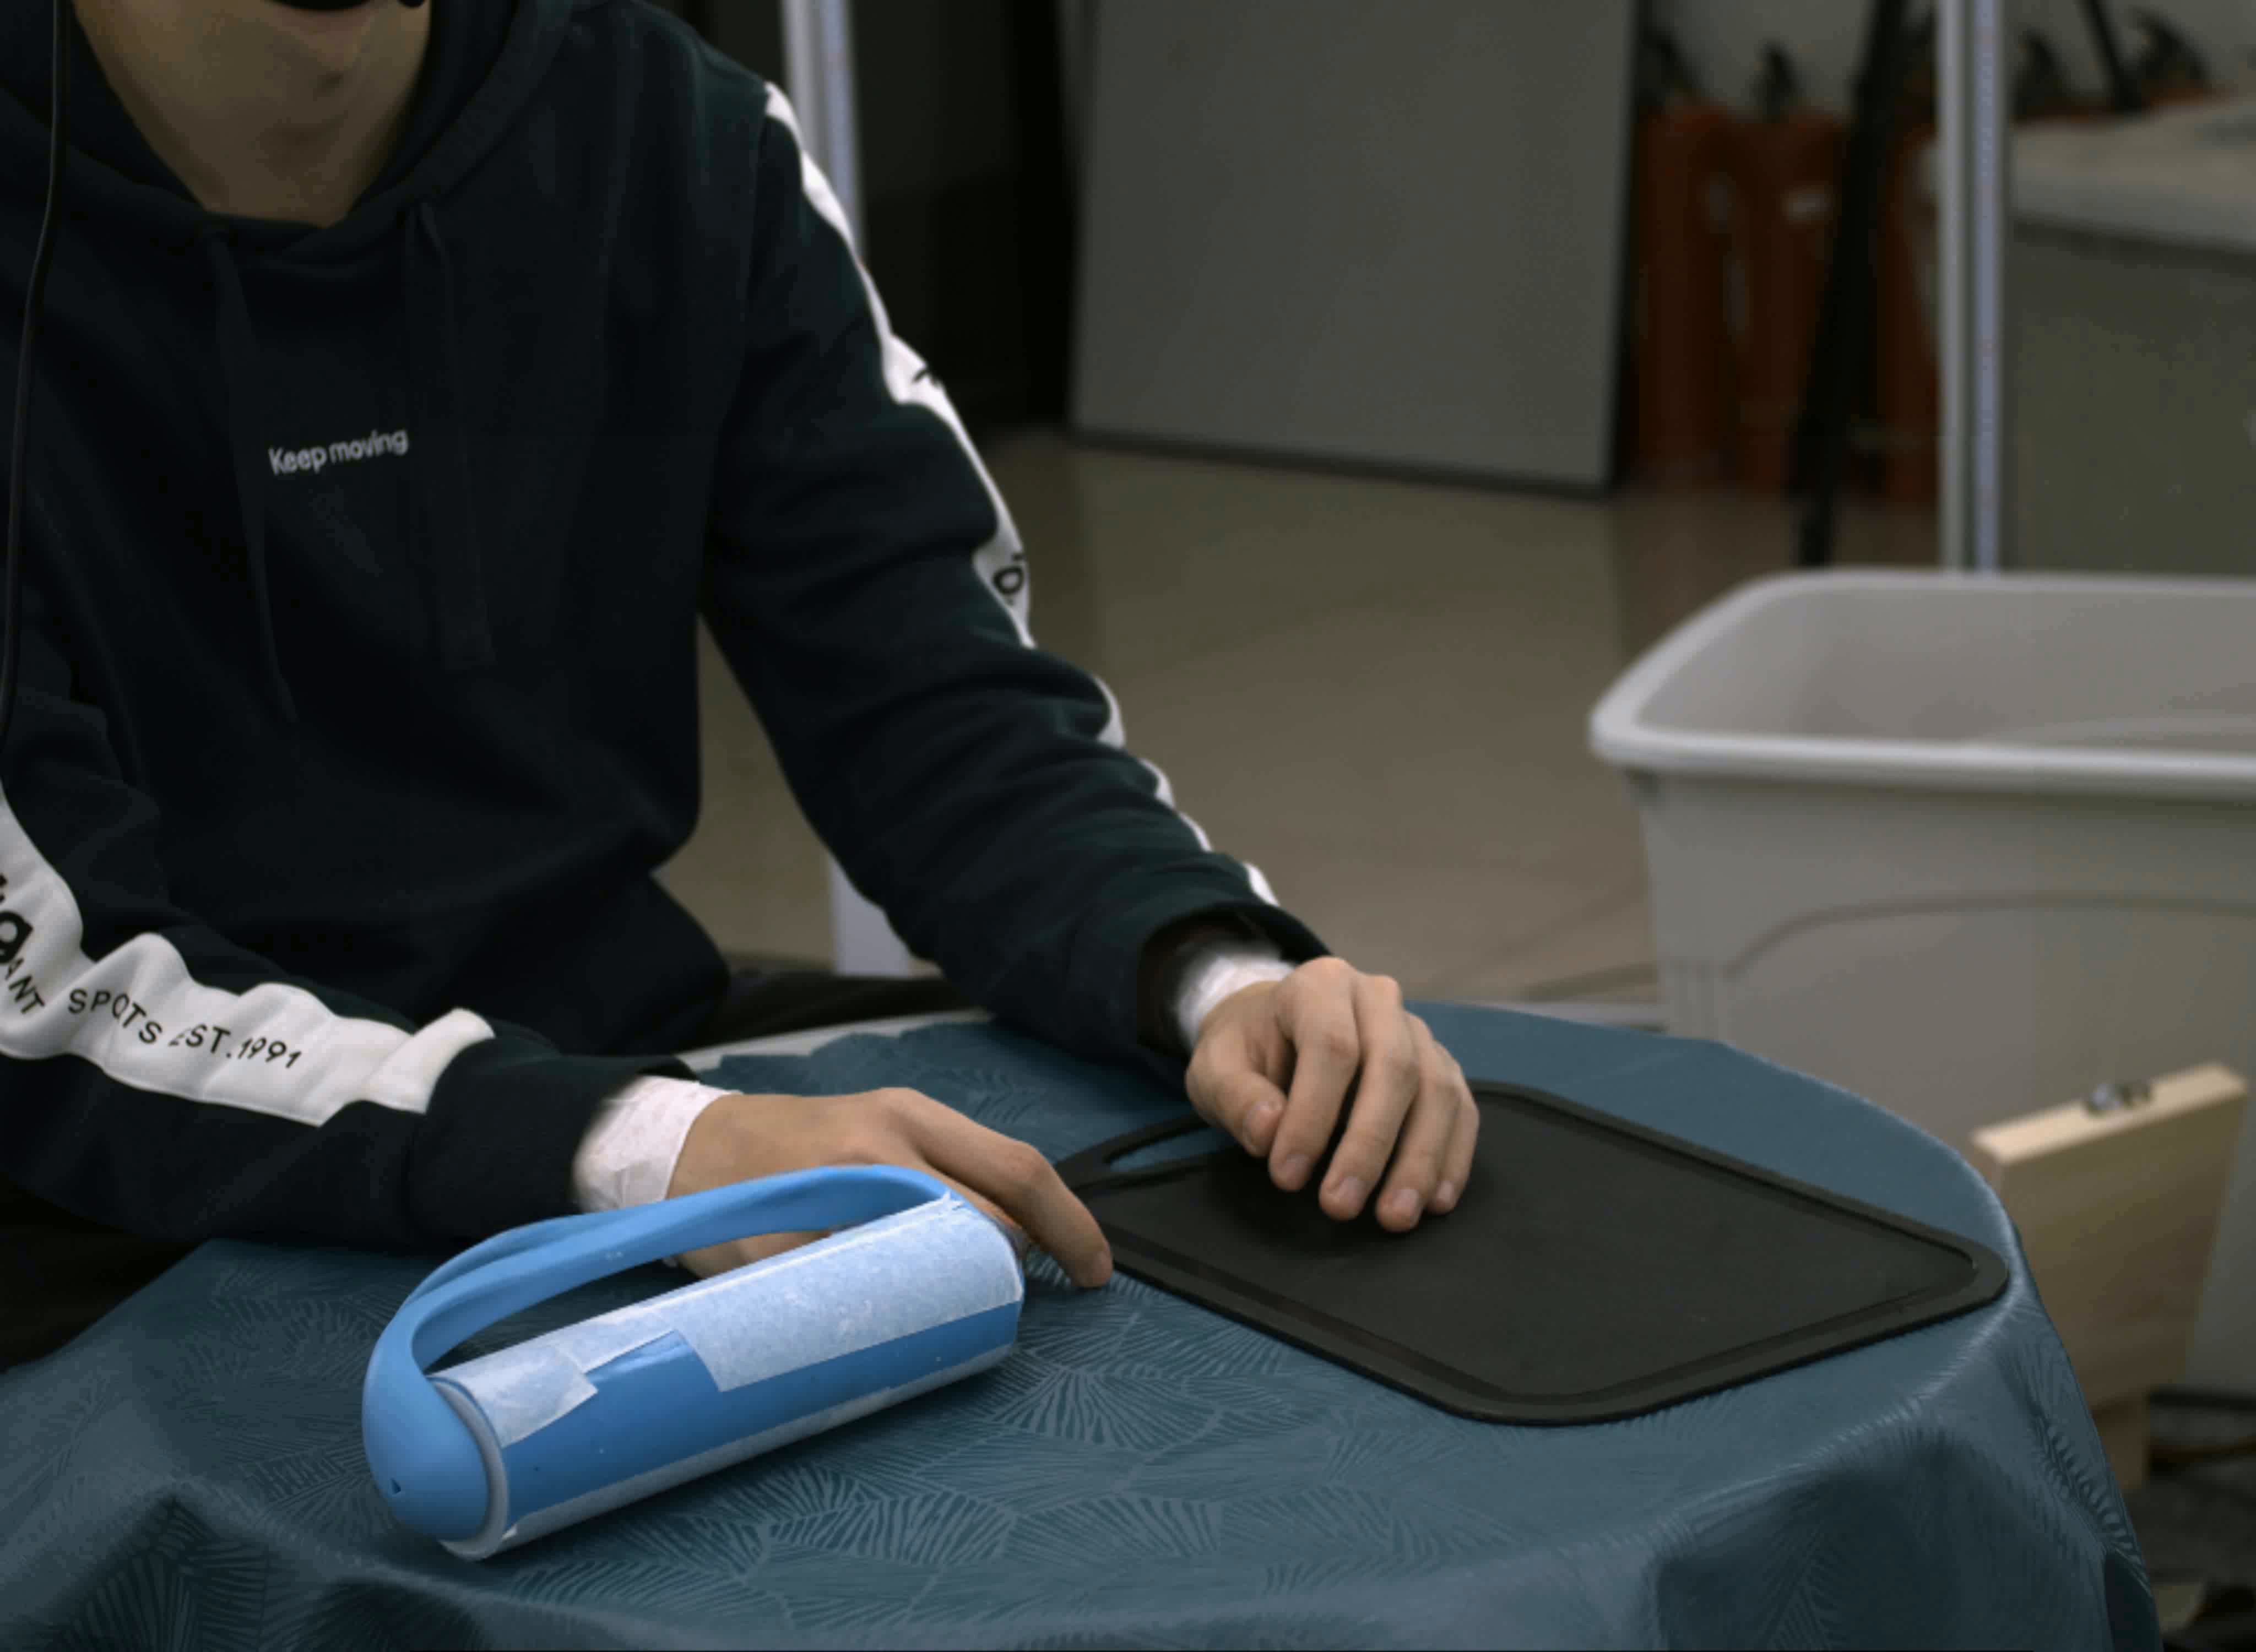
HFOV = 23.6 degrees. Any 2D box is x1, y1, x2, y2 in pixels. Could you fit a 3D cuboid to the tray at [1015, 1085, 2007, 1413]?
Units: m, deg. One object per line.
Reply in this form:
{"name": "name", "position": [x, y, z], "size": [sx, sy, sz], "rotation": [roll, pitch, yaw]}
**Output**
{"name": "tray", "position": [0.109, 0.127, 1.702], "size": [0.206, 0.010, 0.329], "rotation": [-13, 16, -31]}

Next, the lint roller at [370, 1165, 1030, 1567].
{"name": "lint roller", "position": [-0.158, 0.148, 1.590], "size": [0.182, 0.068, 0.224], "rotation": [11, 22, 44]}
